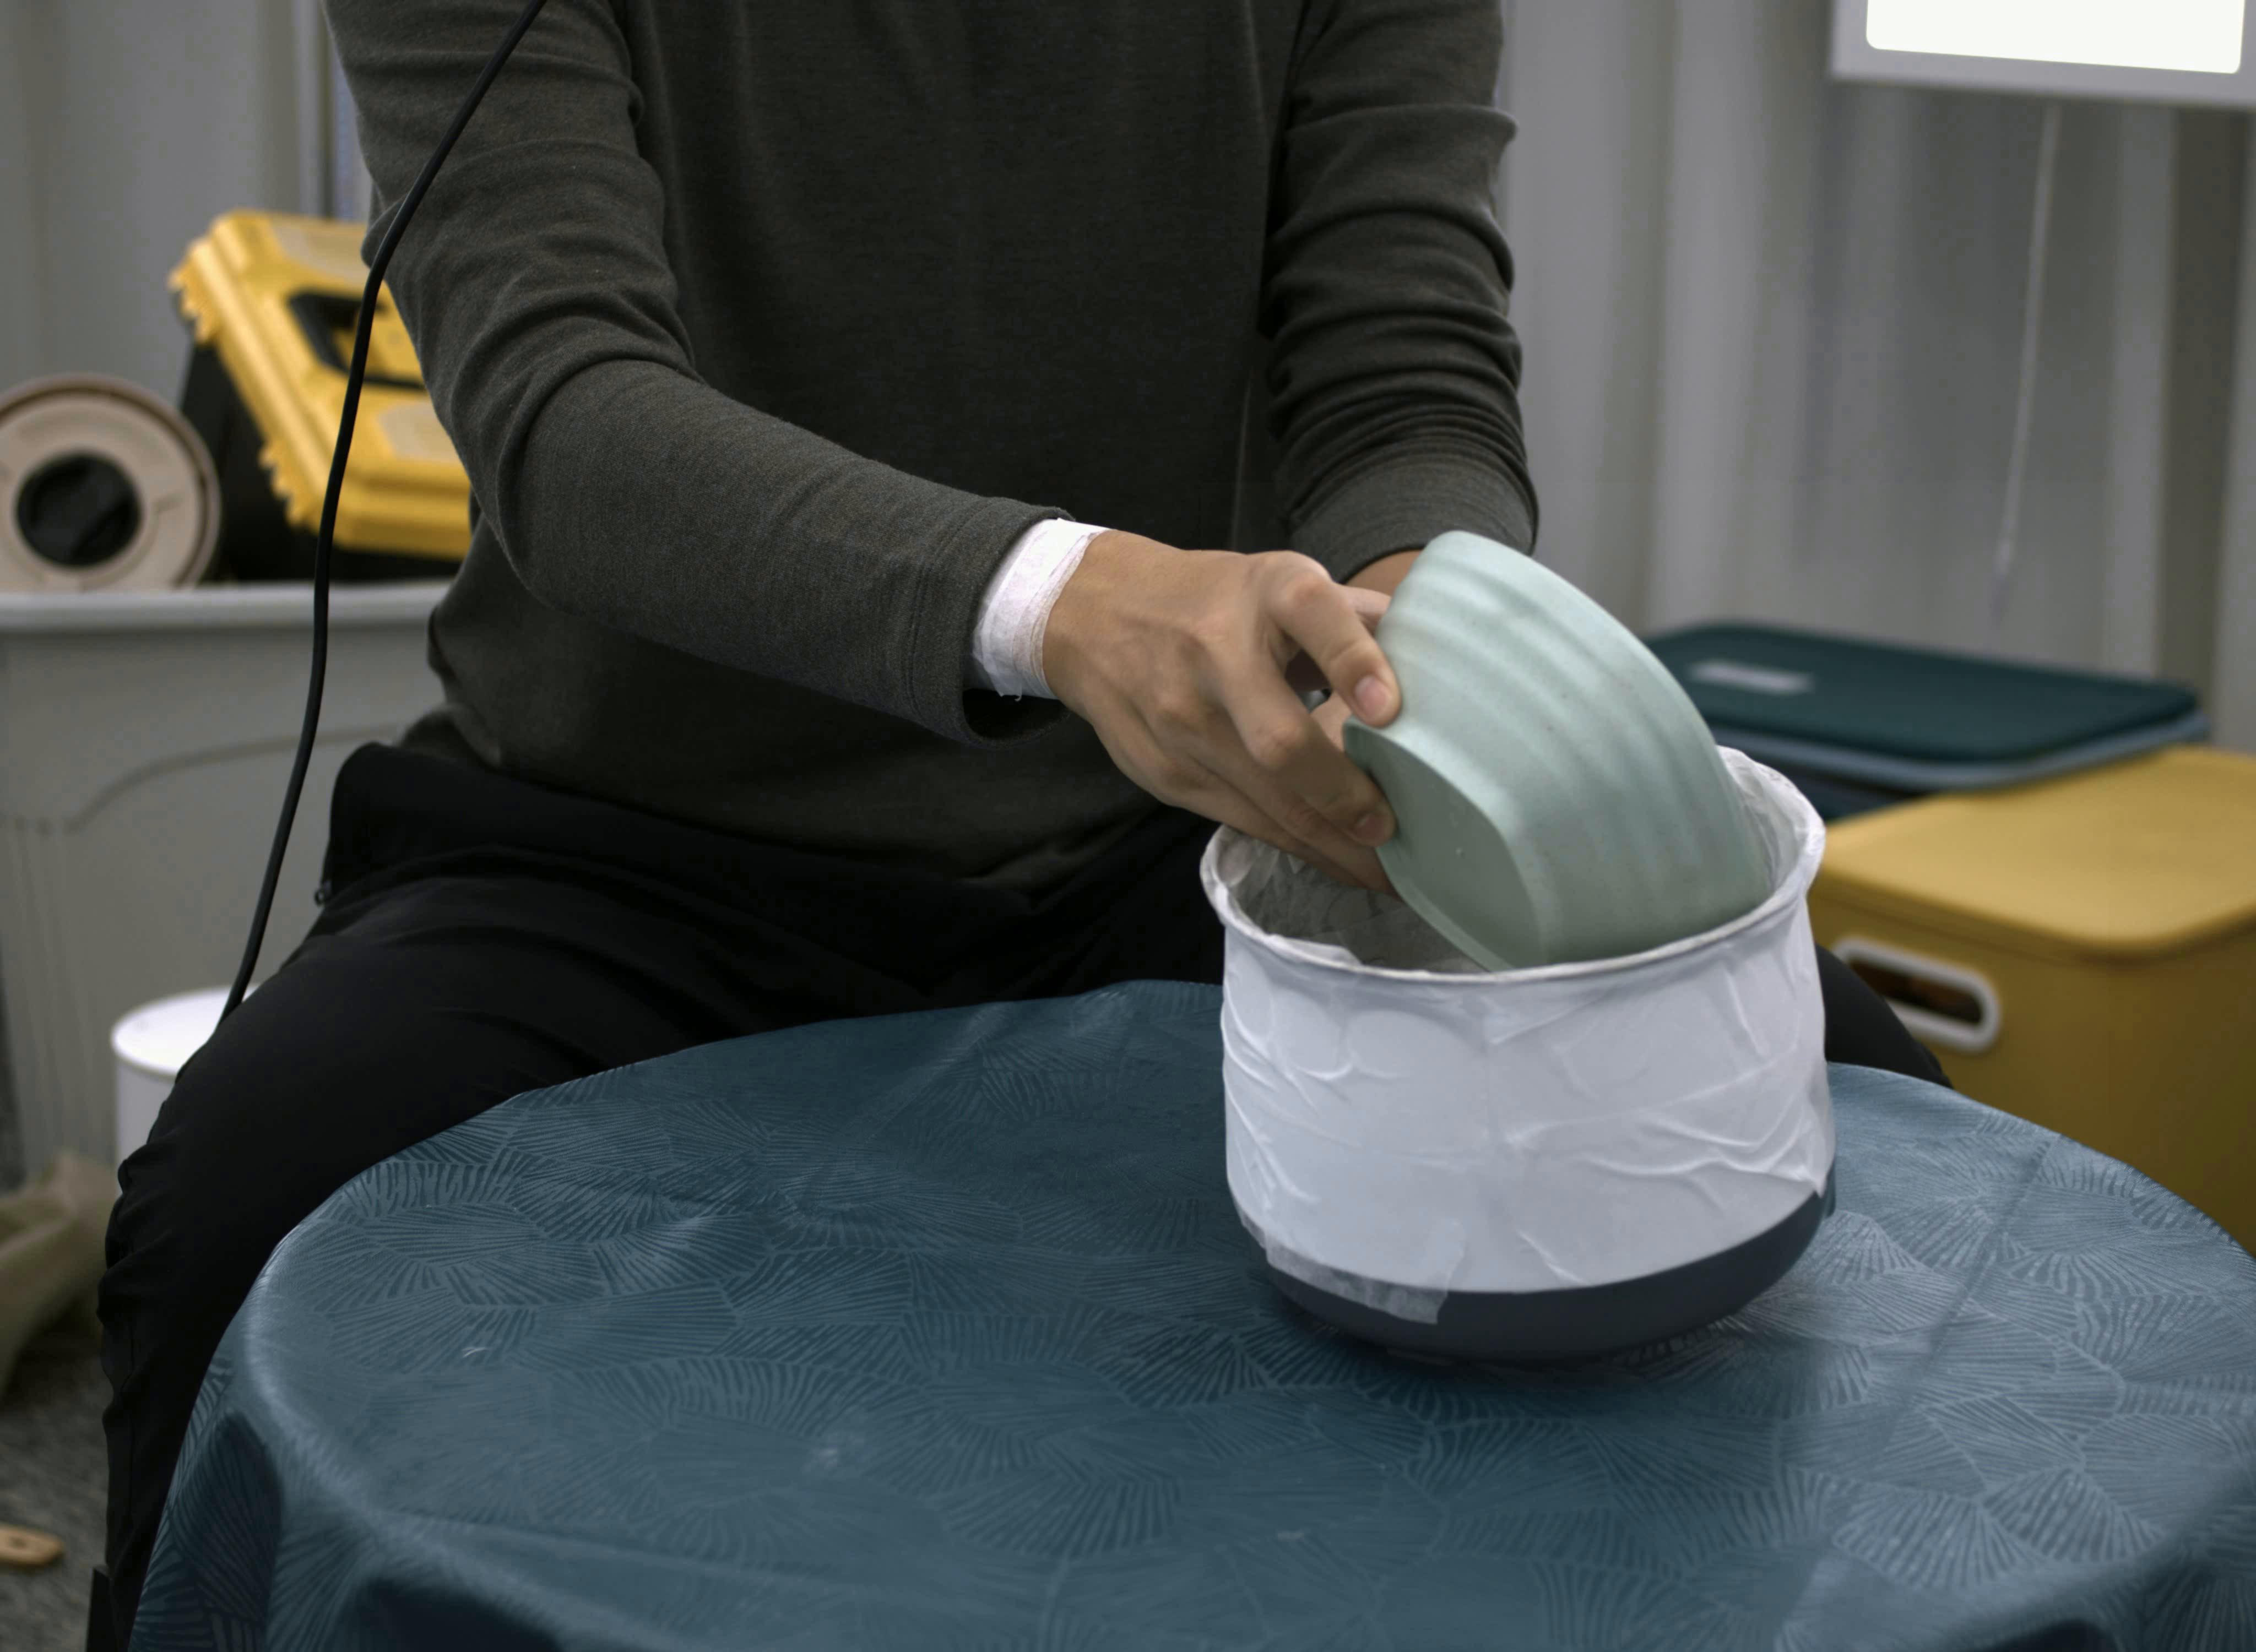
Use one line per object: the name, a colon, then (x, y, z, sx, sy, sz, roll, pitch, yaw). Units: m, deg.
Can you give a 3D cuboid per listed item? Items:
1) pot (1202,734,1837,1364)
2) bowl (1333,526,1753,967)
pot: (0.107, 0.053, 1.537, 0.179, 0.138, 0.231, -10, 24, -11)
bowl: (0.108, -0.007, 1.473, 0.058, 0.153, 0.149, -35, 28, -16)
